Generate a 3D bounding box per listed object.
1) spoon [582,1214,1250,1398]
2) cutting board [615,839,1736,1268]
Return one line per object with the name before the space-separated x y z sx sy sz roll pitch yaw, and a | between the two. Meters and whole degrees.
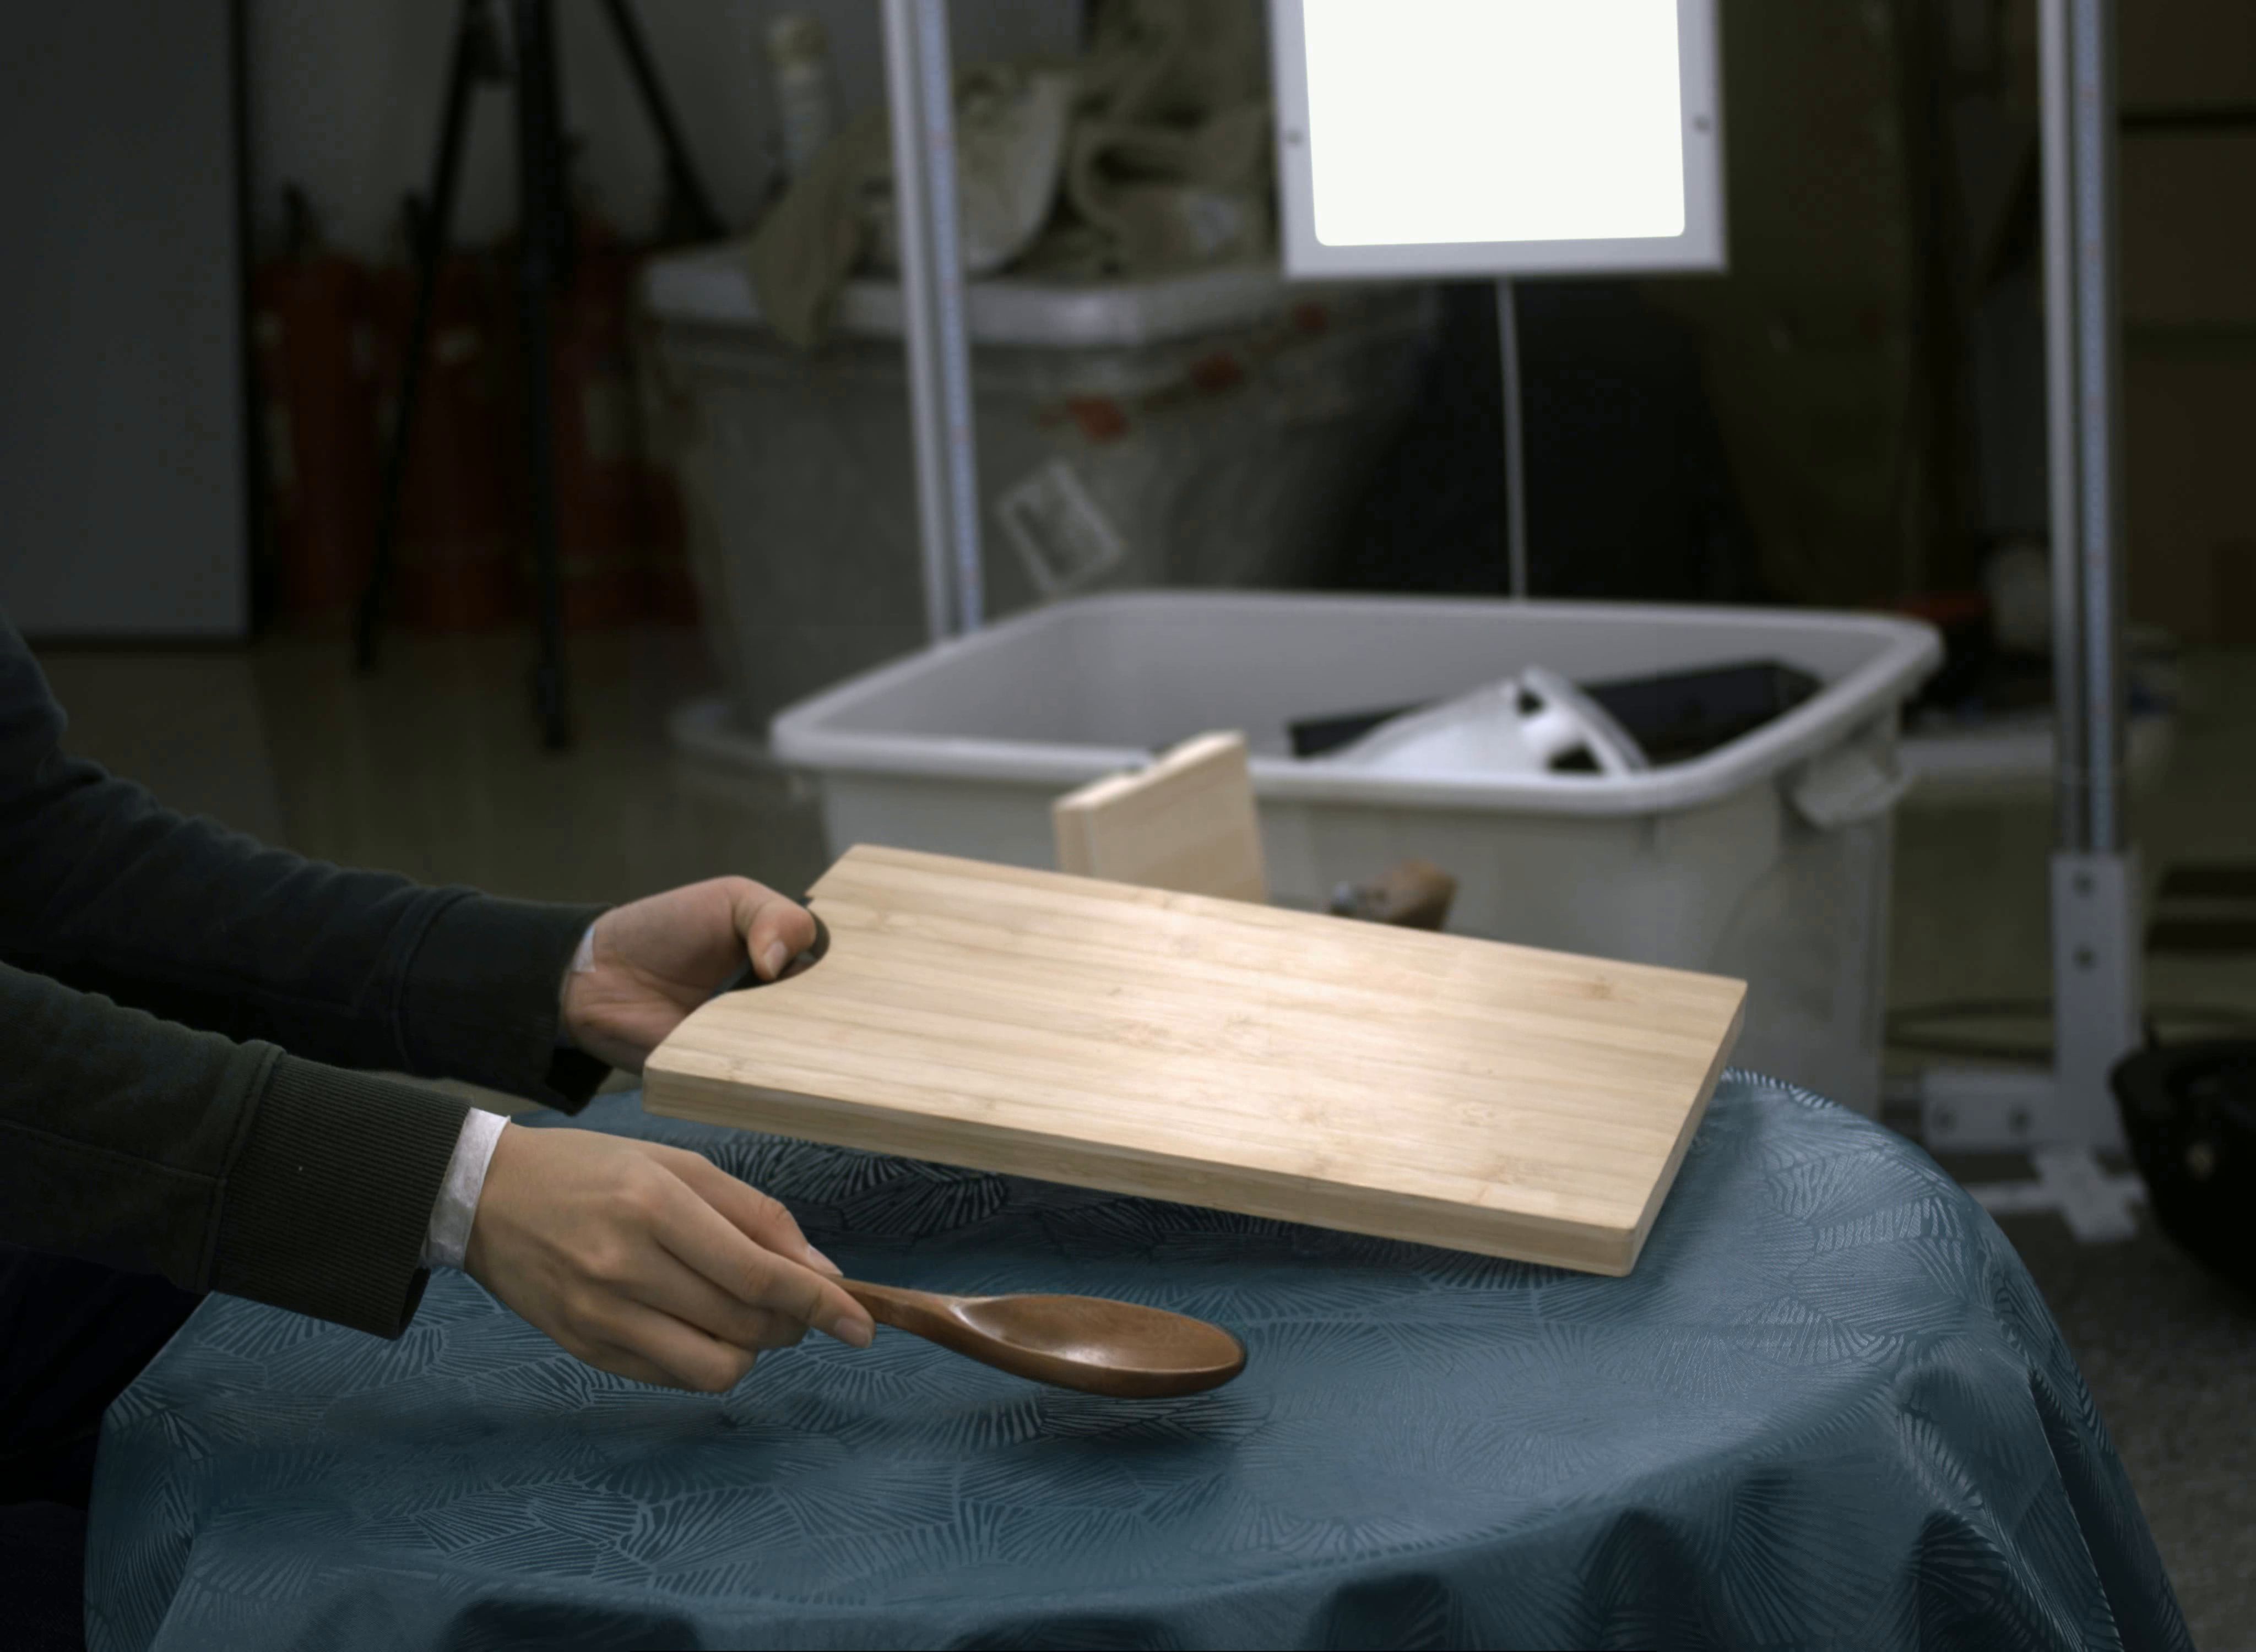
spoon | -0.067 0.147 1.693 0.218 0.017 0.074 11 14 17
cutting board | 0.023 0.074 1.916 0.351 0.024 0.247 8 20 14
